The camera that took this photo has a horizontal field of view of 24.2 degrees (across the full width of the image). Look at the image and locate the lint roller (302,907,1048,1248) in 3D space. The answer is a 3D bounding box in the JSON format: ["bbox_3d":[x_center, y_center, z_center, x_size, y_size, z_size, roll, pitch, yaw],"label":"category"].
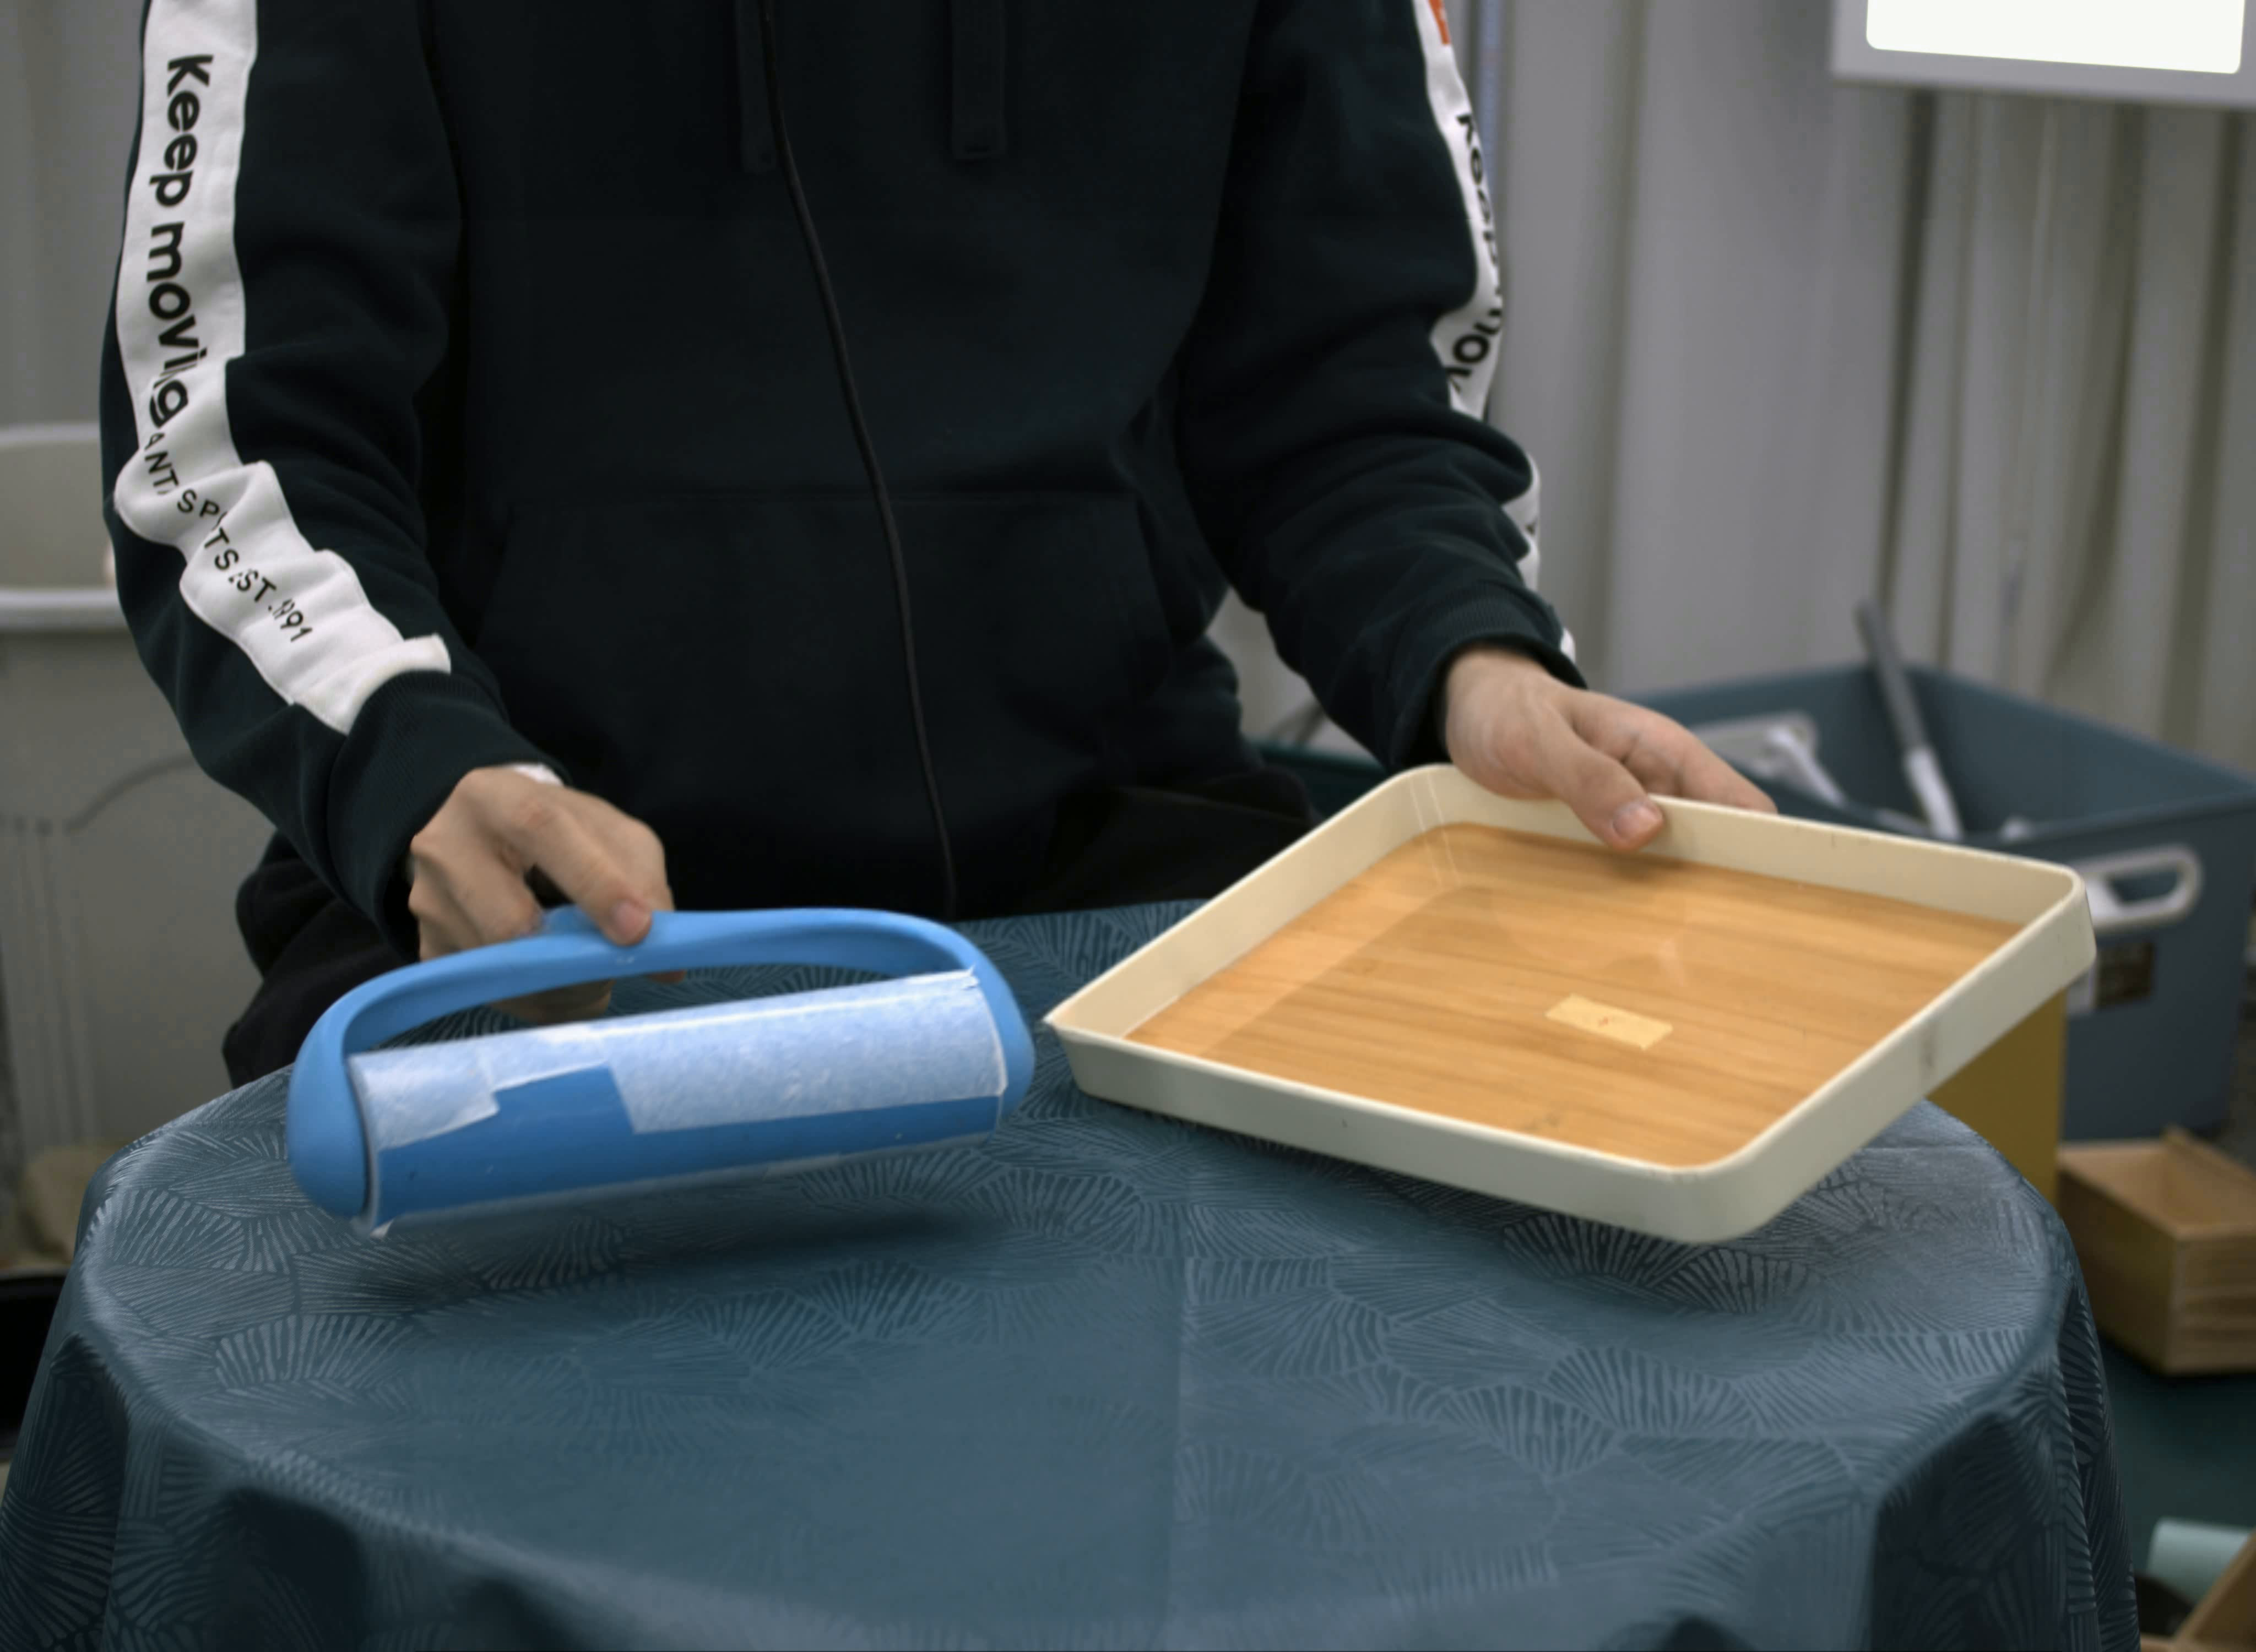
[{"bbox_3d":[-0.157,0.057,1.593,0.229,0.068,0.178,-11,28,-25],"label":"lint roller"}]

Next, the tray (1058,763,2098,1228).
[{"bbox_3d":[0.136,0.048,1.656,0.192,0.028,0.296,-33,27,-33],"label":"tray"}]
